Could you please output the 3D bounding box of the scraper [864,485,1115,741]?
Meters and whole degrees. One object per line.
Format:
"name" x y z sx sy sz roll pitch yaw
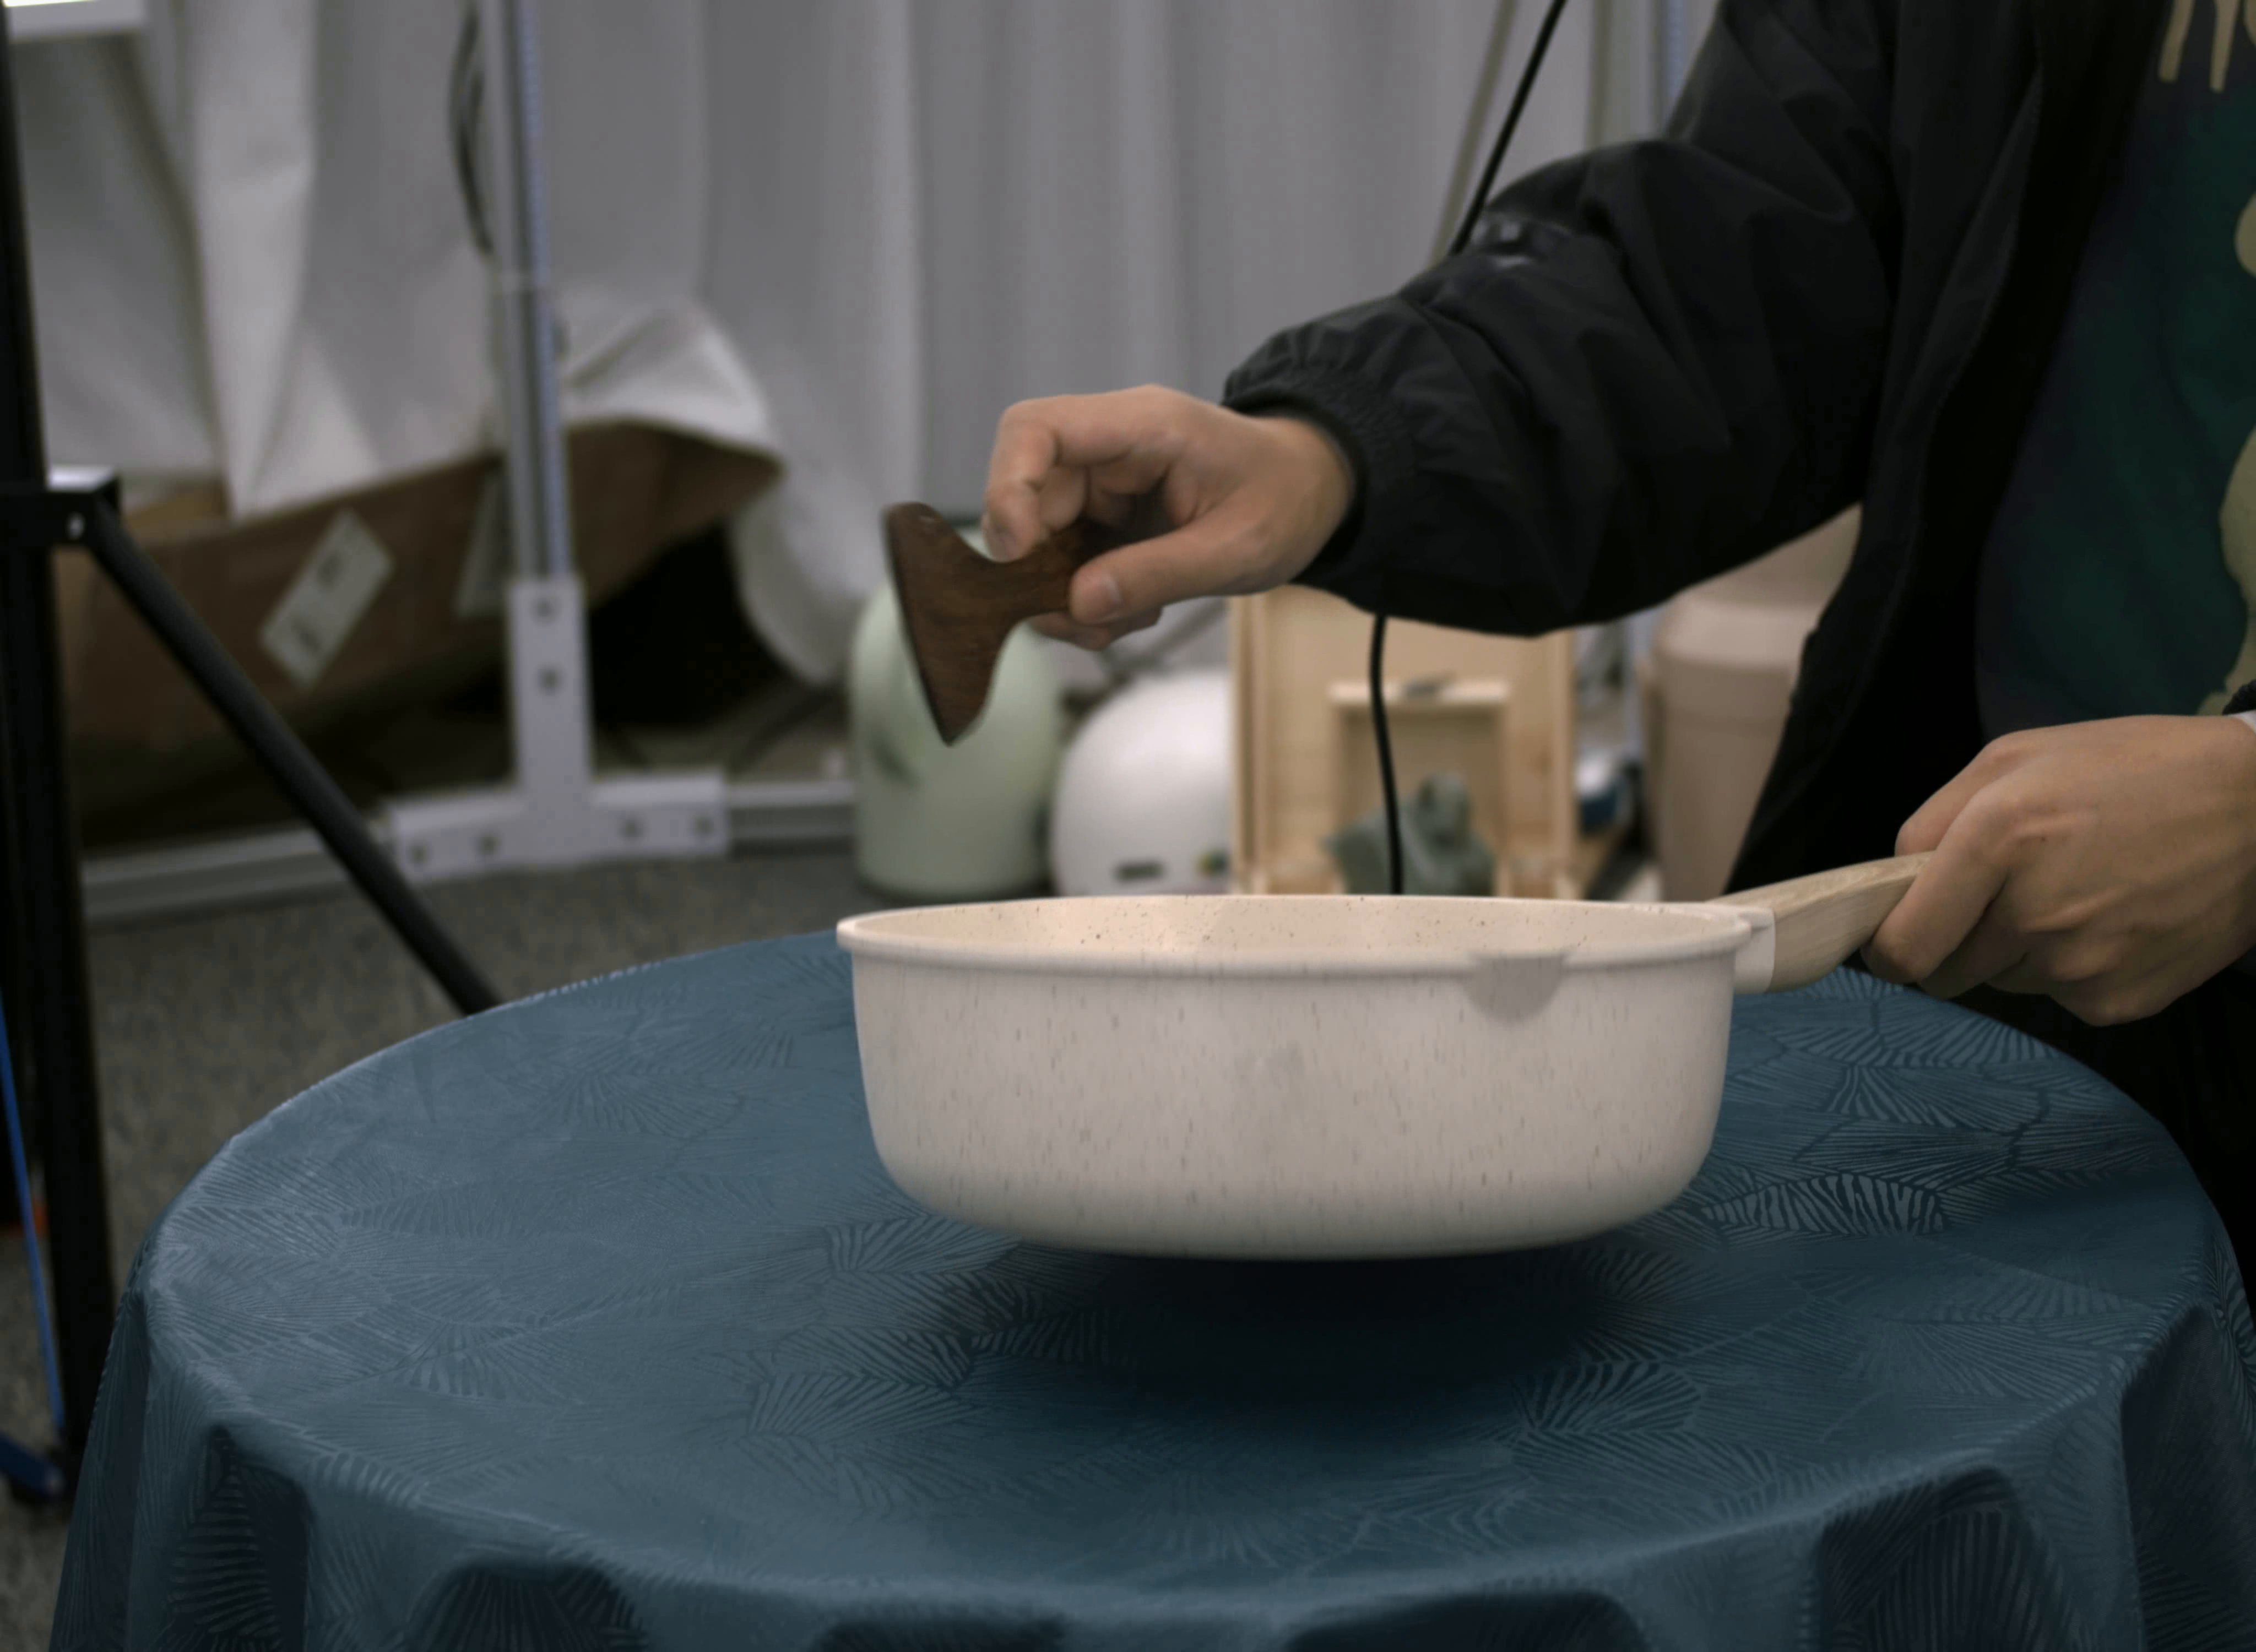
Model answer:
"scraper" -0.040 -0.074 1.654 0.011 0.076 0.208 -11 4 20

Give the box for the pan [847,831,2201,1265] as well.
"pan" 0.130 0.059 1.488 0.425 0.102 0.268 -1 2 -26
